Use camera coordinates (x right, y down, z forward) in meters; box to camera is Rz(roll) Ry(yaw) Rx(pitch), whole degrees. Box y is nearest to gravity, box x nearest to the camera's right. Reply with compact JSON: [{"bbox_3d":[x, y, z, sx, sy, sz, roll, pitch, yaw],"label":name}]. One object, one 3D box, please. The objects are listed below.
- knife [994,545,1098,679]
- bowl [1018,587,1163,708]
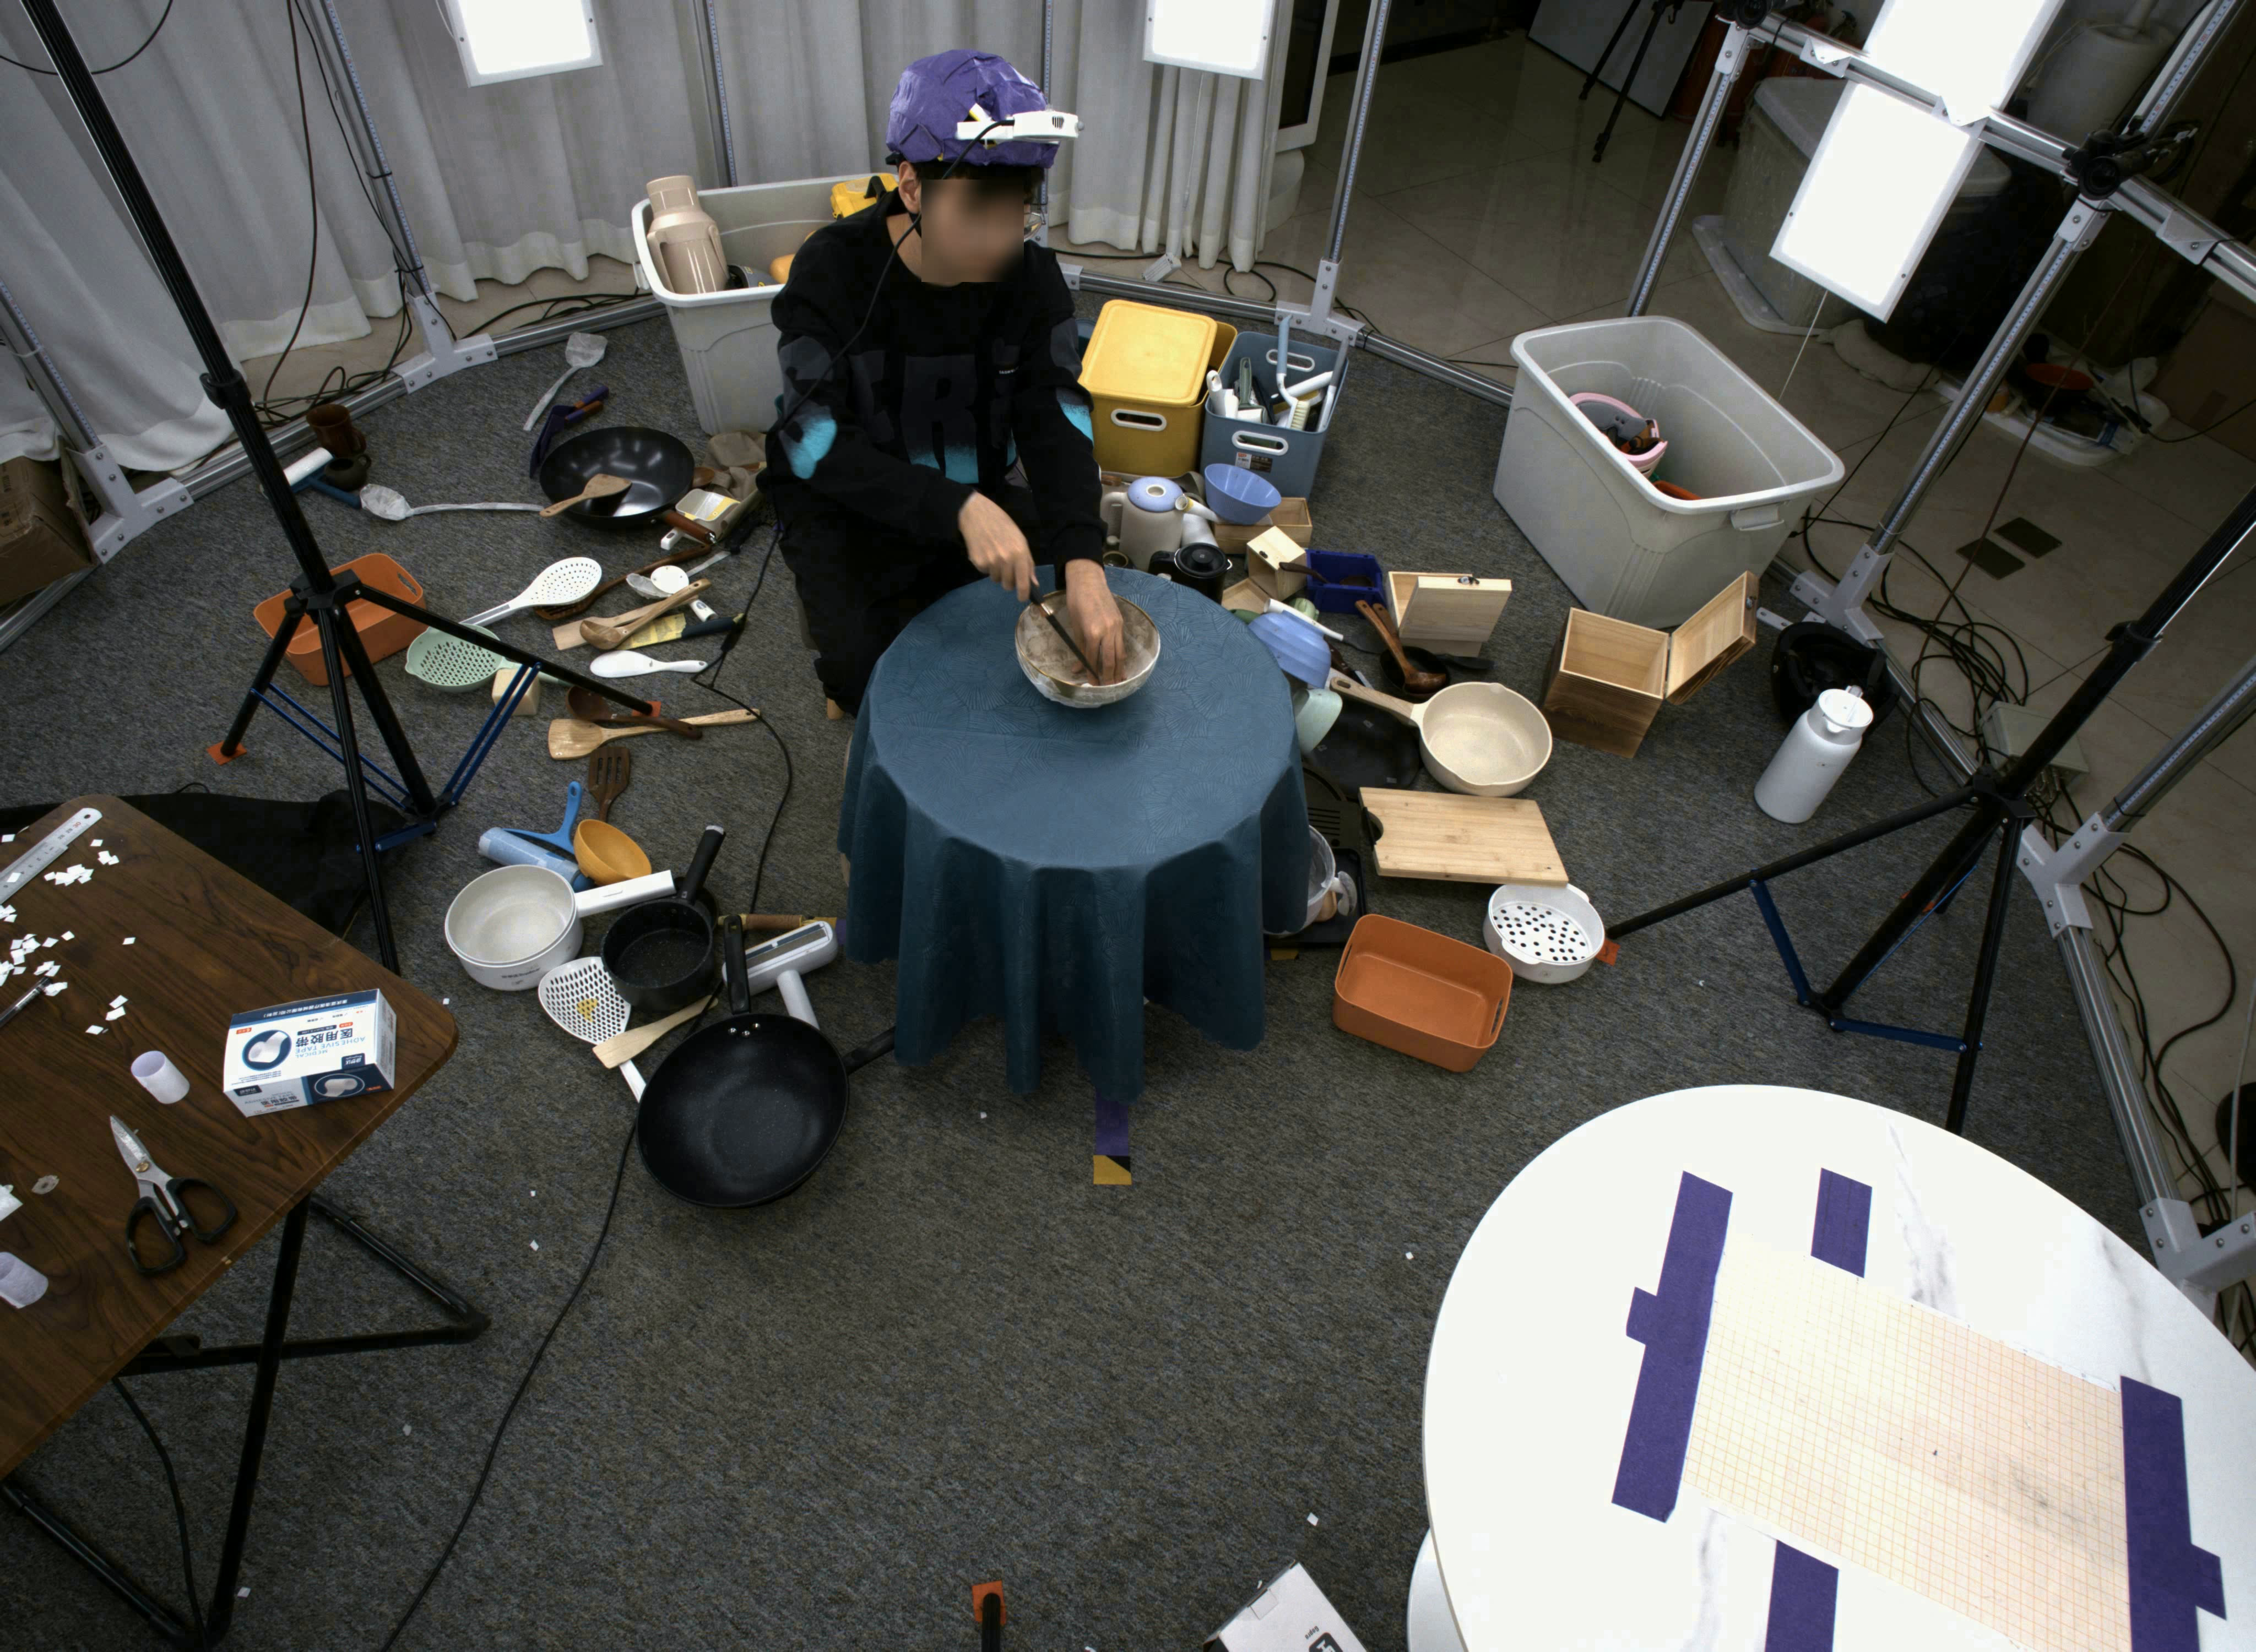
[{"bbox_3d":[-0.109,-0.292,1.767,0.017,0.026,0.224,-44,101,-28],"label":"knife"},{"bbox_3d":[-0.056,-0.239,1.809,0.214,0.092,0.220,3,50,-3],"label":"bowl"}]
